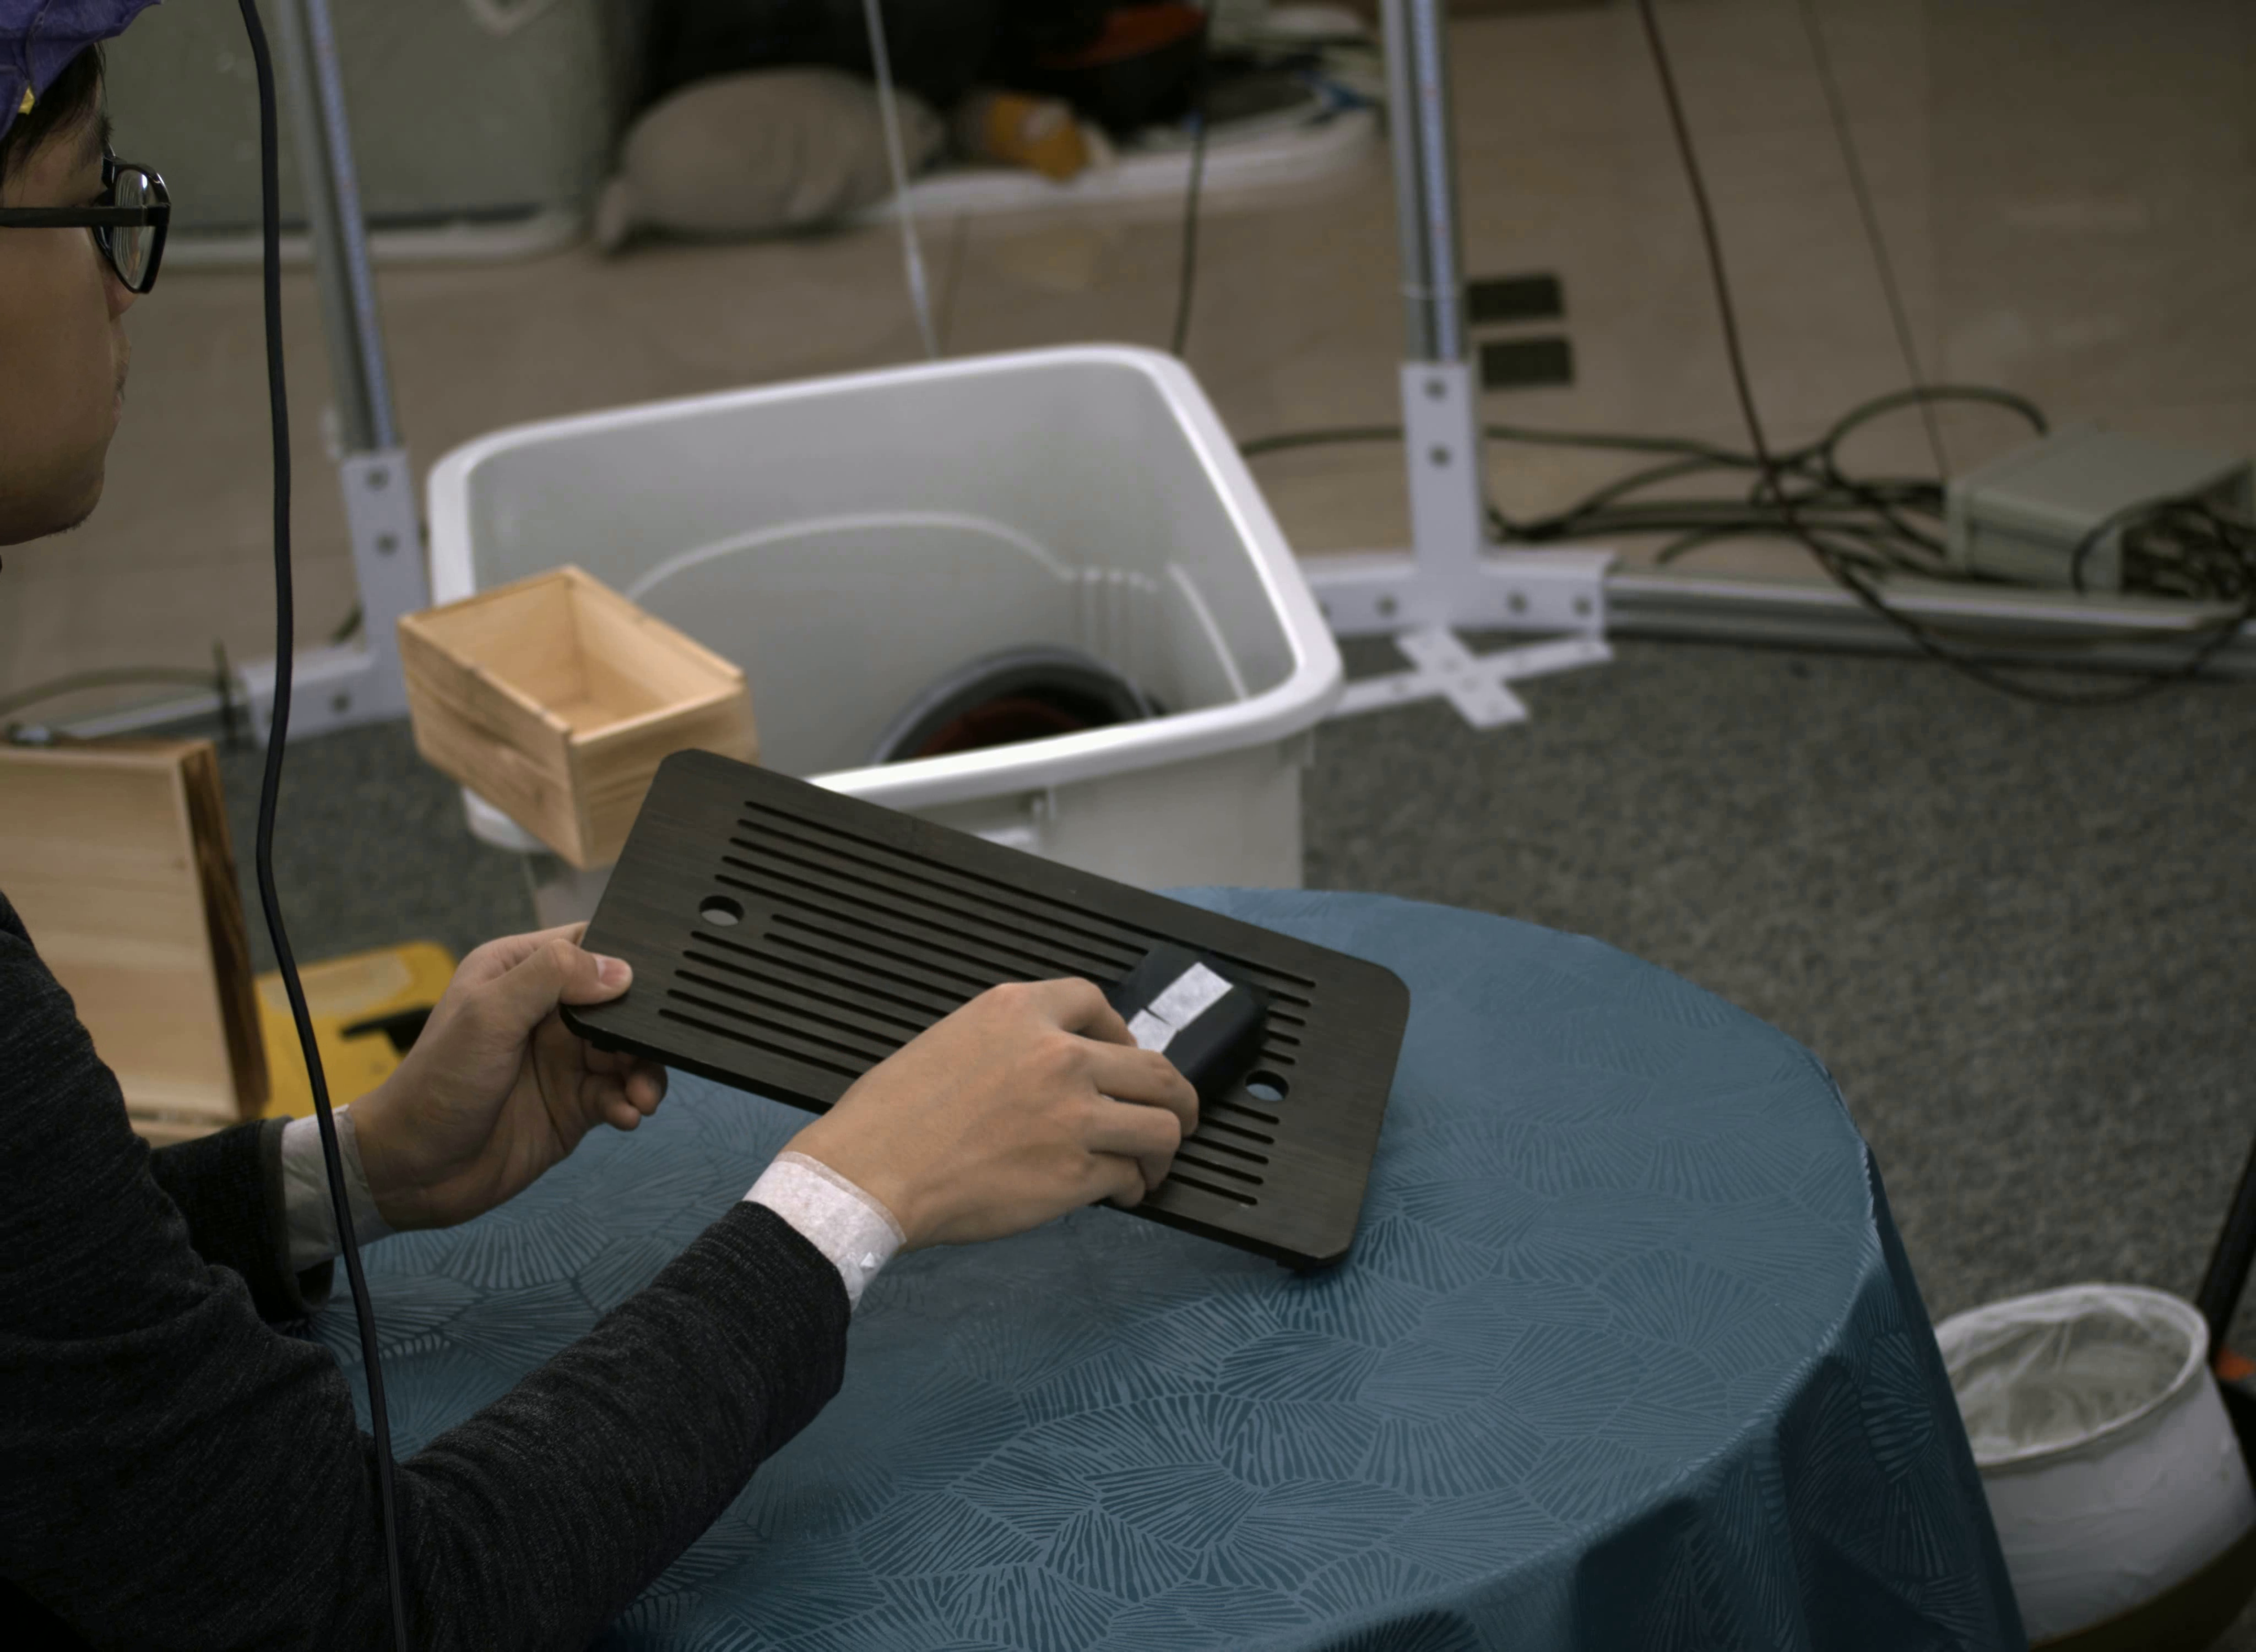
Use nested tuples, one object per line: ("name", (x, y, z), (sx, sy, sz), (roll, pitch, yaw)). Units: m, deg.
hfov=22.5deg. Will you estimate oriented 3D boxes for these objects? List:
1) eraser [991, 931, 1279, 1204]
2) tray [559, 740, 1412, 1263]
("eraser", (0.003, 0.087, 2.098), (0.053, 0.031, 0.124), (29, 43, 16))
("tray", (-0.051, 0.066, 2.133), (0.305, 0.019, 0.167), (18, 41, 0))
